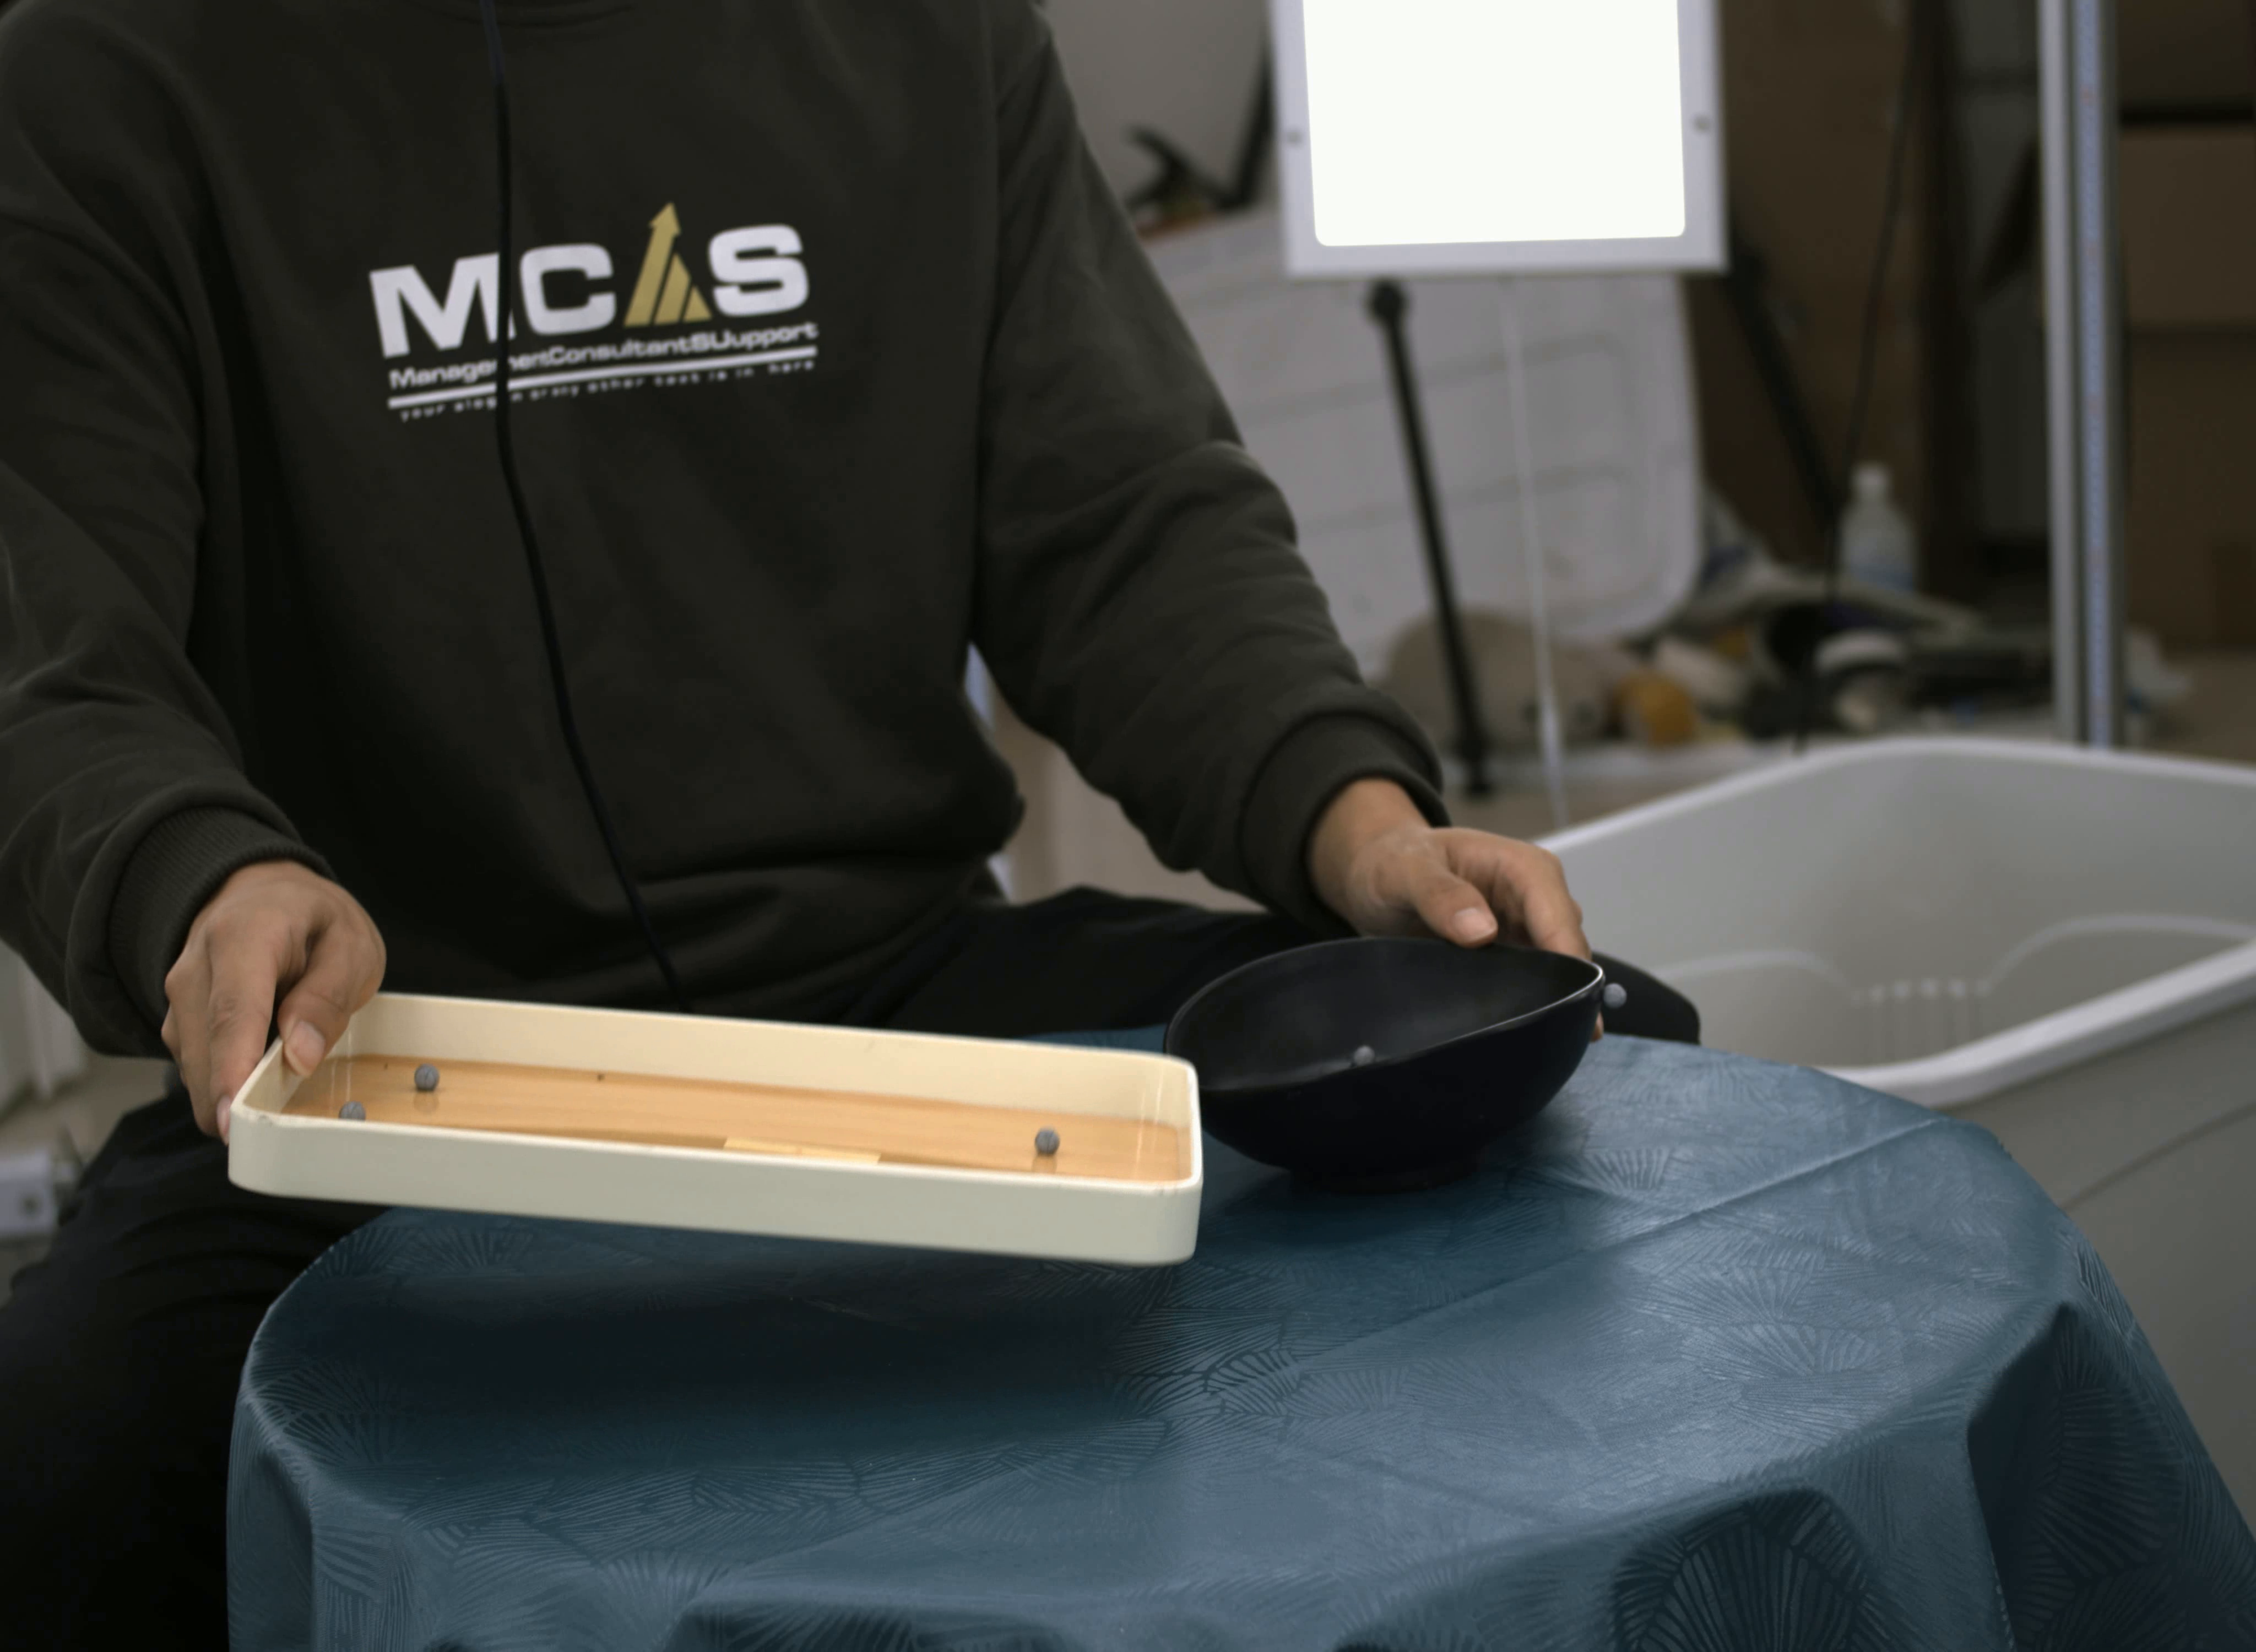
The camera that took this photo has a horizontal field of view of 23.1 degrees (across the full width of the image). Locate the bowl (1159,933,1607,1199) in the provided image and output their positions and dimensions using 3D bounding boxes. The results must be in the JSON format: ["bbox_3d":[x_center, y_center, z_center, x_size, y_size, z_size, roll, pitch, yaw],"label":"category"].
[{"bbox_3d":[0.091,0.088,1.898,0.166,0.067,0.140,-18,17,-37],"label":"bowl"}]

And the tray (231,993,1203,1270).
[{"bbox_3d":[-0.127,0.097,1.768,0.300,0.027,0.191,5,10,1],"label":"tray"}]
